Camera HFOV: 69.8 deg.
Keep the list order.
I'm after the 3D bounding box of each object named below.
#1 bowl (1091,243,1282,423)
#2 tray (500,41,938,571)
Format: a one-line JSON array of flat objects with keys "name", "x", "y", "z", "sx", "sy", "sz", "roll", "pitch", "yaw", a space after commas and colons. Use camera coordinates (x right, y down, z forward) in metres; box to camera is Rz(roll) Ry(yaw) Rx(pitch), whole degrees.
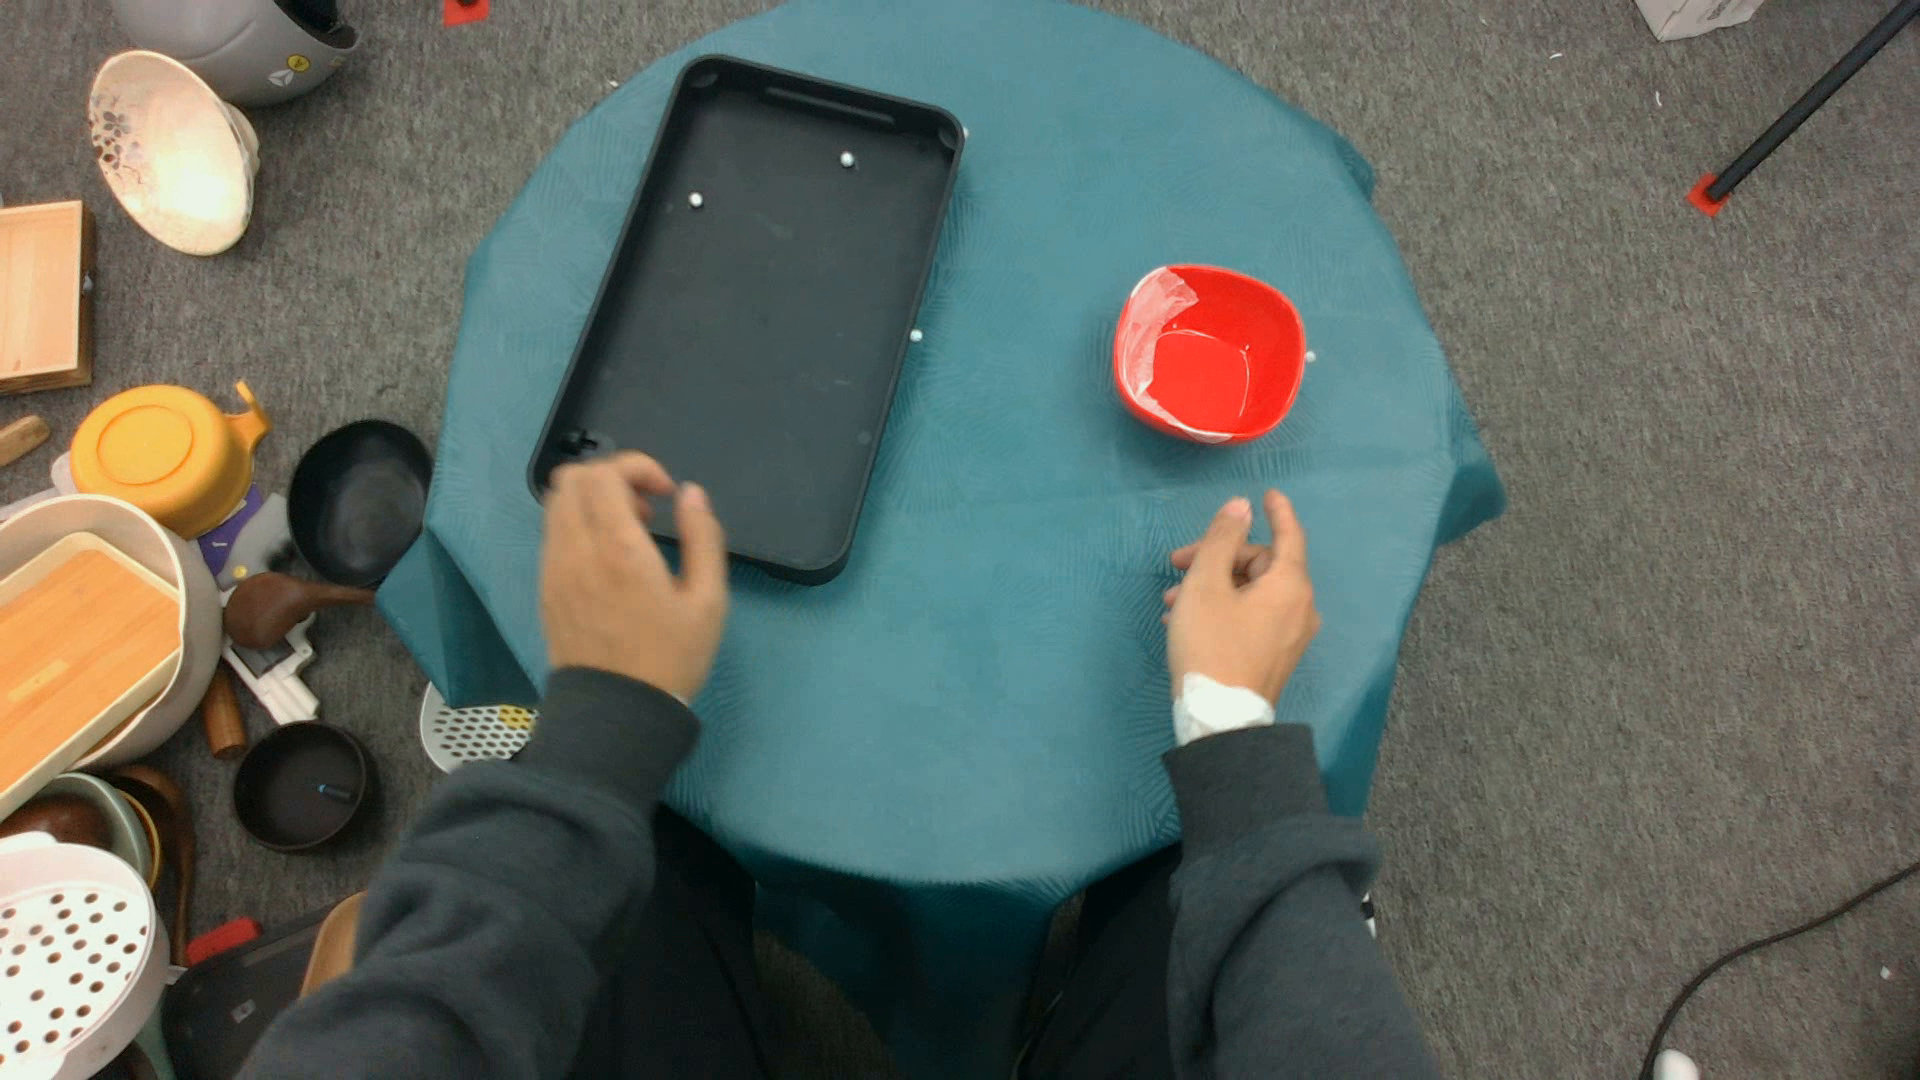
[{"name": "bowl", "x": 0.129, "y": -0.114, "z": 0.815, "sx": 0.119, "sy": 0.051, "sz": 0.119, "roll": 2, "pitch": 68, "yaw": -5}, {"name": "tray", "x": -0.133, "y": -0.146, "z": 0.816, "sx": 0.184, "sy": 0.037, "sz": 0.319, "roll": 13, "pitch": 69, "yaw": 0}]
